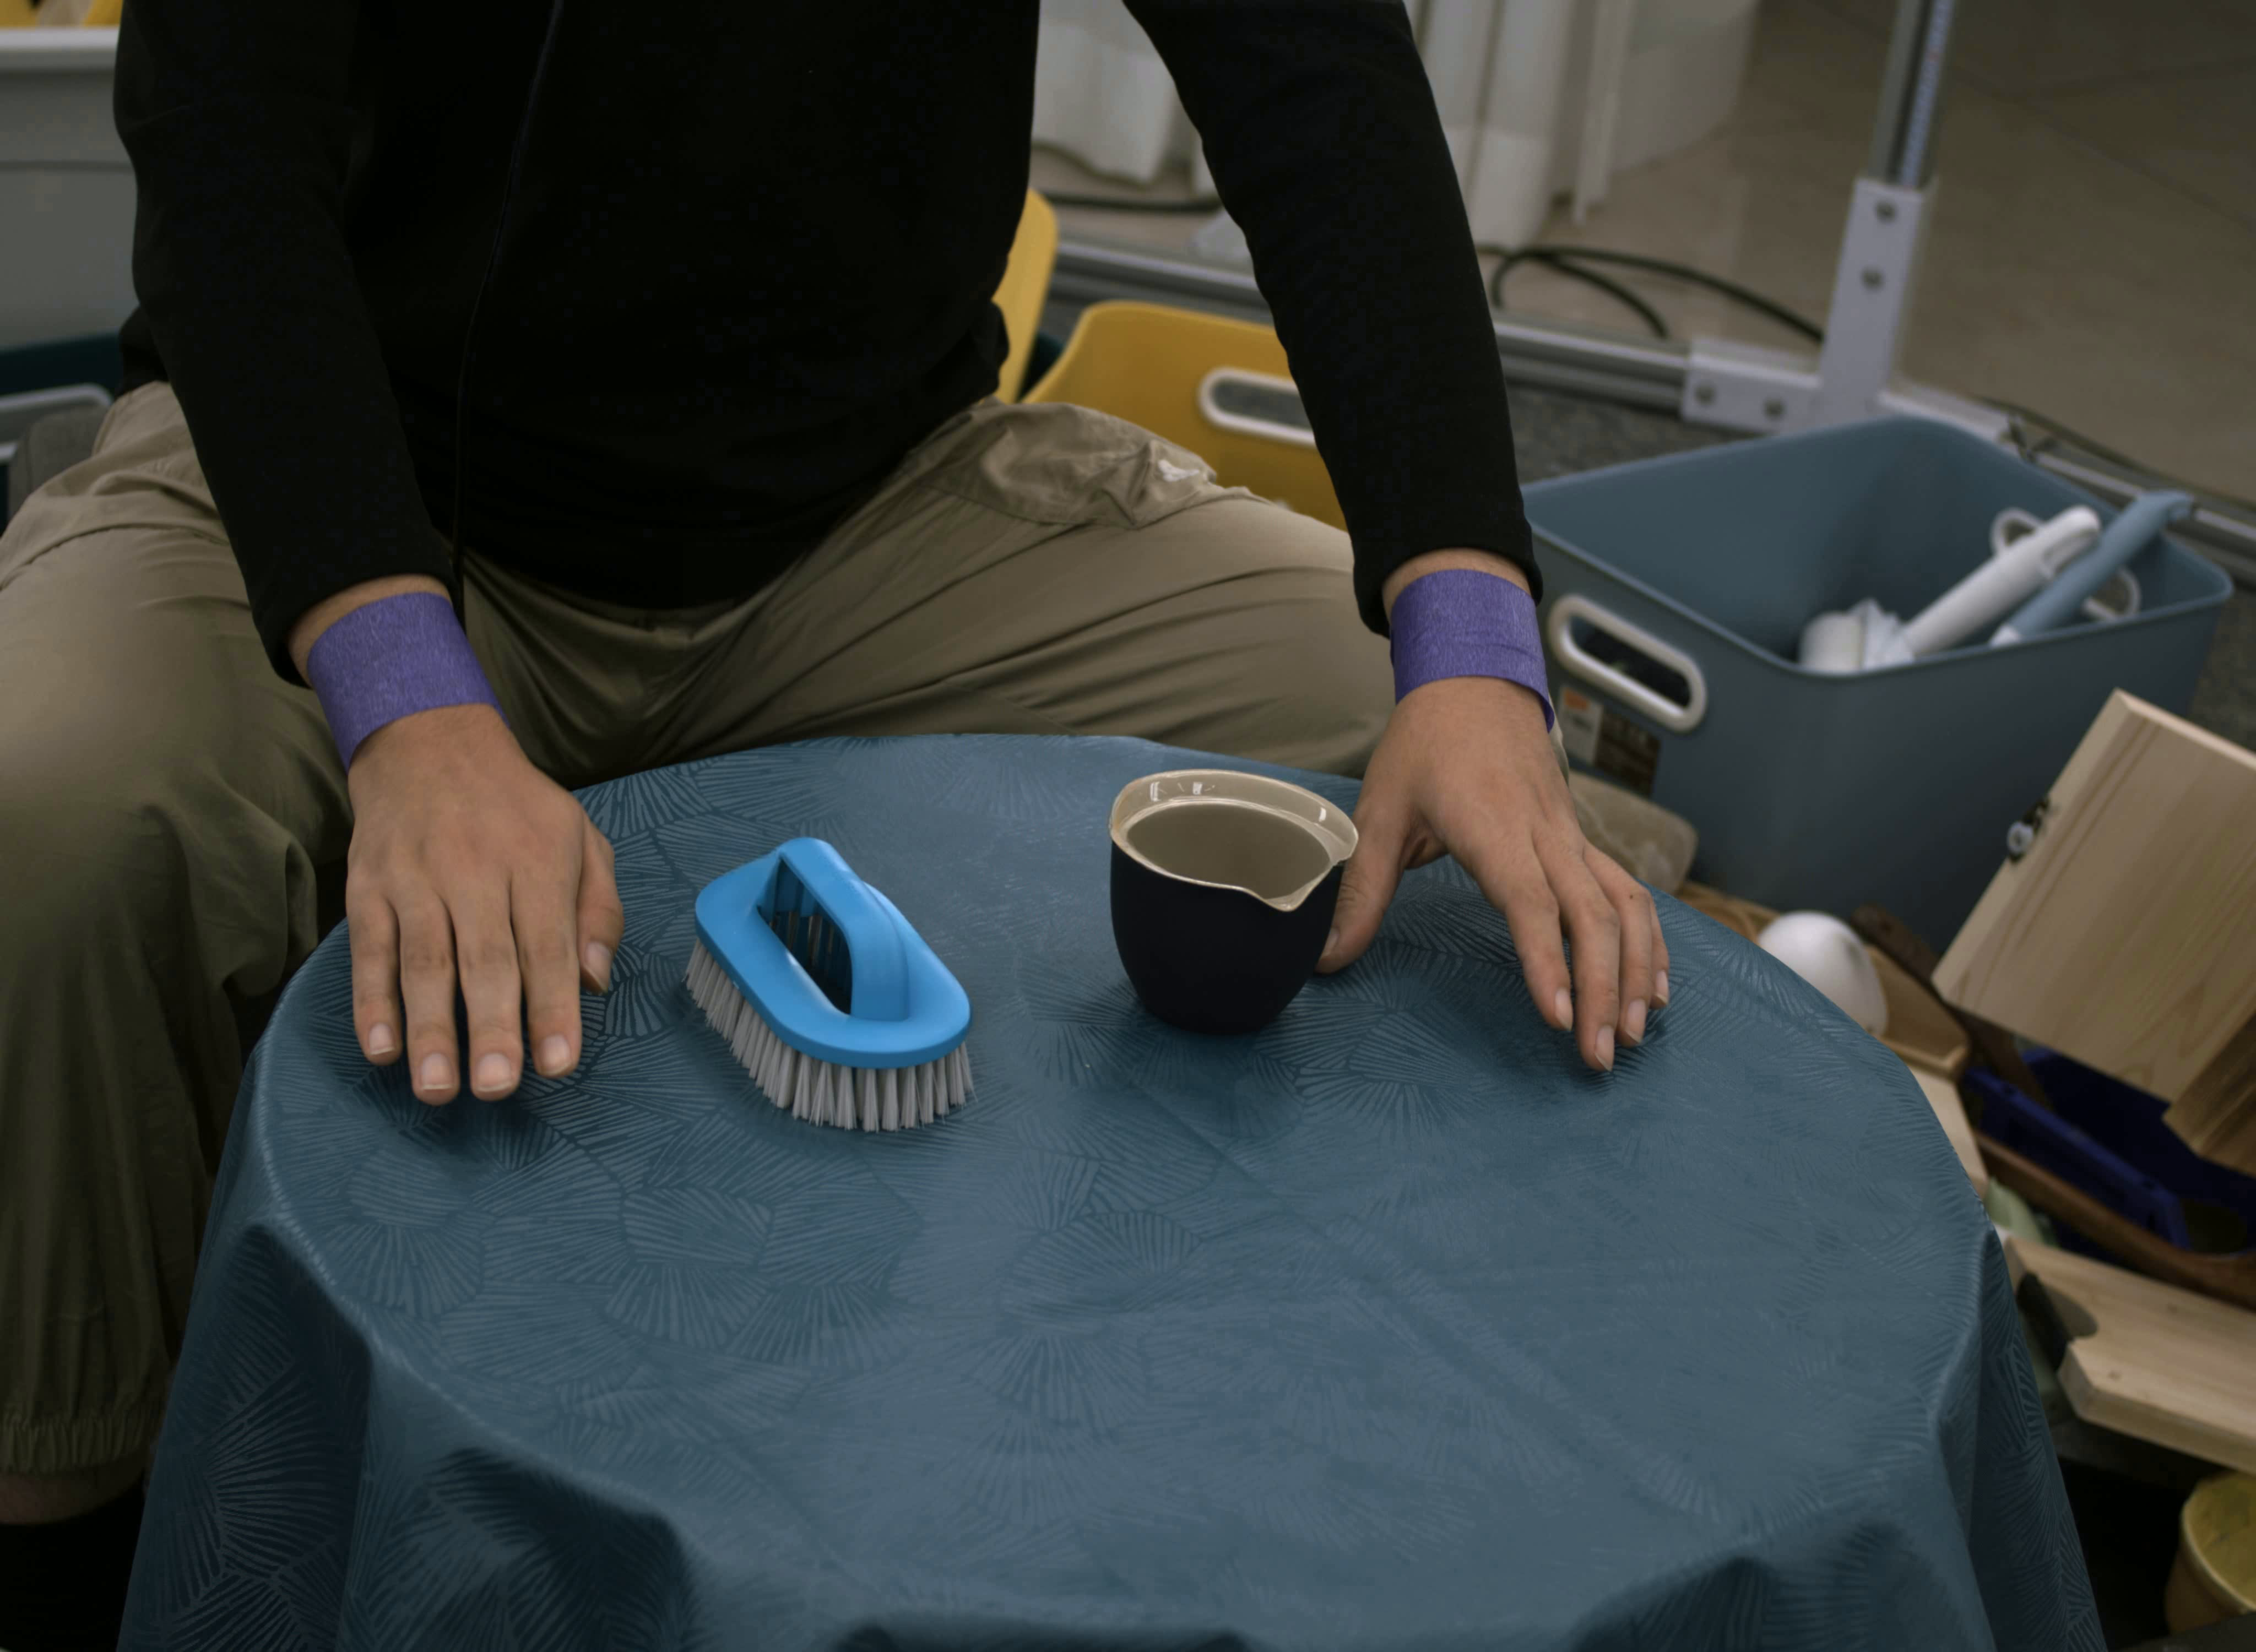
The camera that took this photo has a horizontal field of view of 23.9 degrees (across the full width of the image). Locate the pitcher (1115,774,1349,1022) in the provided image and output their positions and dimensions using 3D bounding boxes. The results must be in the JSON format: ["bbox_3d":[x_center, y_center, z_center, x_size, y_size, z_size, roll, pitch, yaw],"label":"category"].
[{"bbox_3d":[0.036,0.030,1.909,0.083,0.071,0.097,0,29,-16],"label":"pitcher"}]

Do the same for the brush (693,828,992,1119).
[{"bbox_3d":[-0.102,0.043,1.863,0.084,0.063,0.143,-10,30,-22],"label":"brush"}]
